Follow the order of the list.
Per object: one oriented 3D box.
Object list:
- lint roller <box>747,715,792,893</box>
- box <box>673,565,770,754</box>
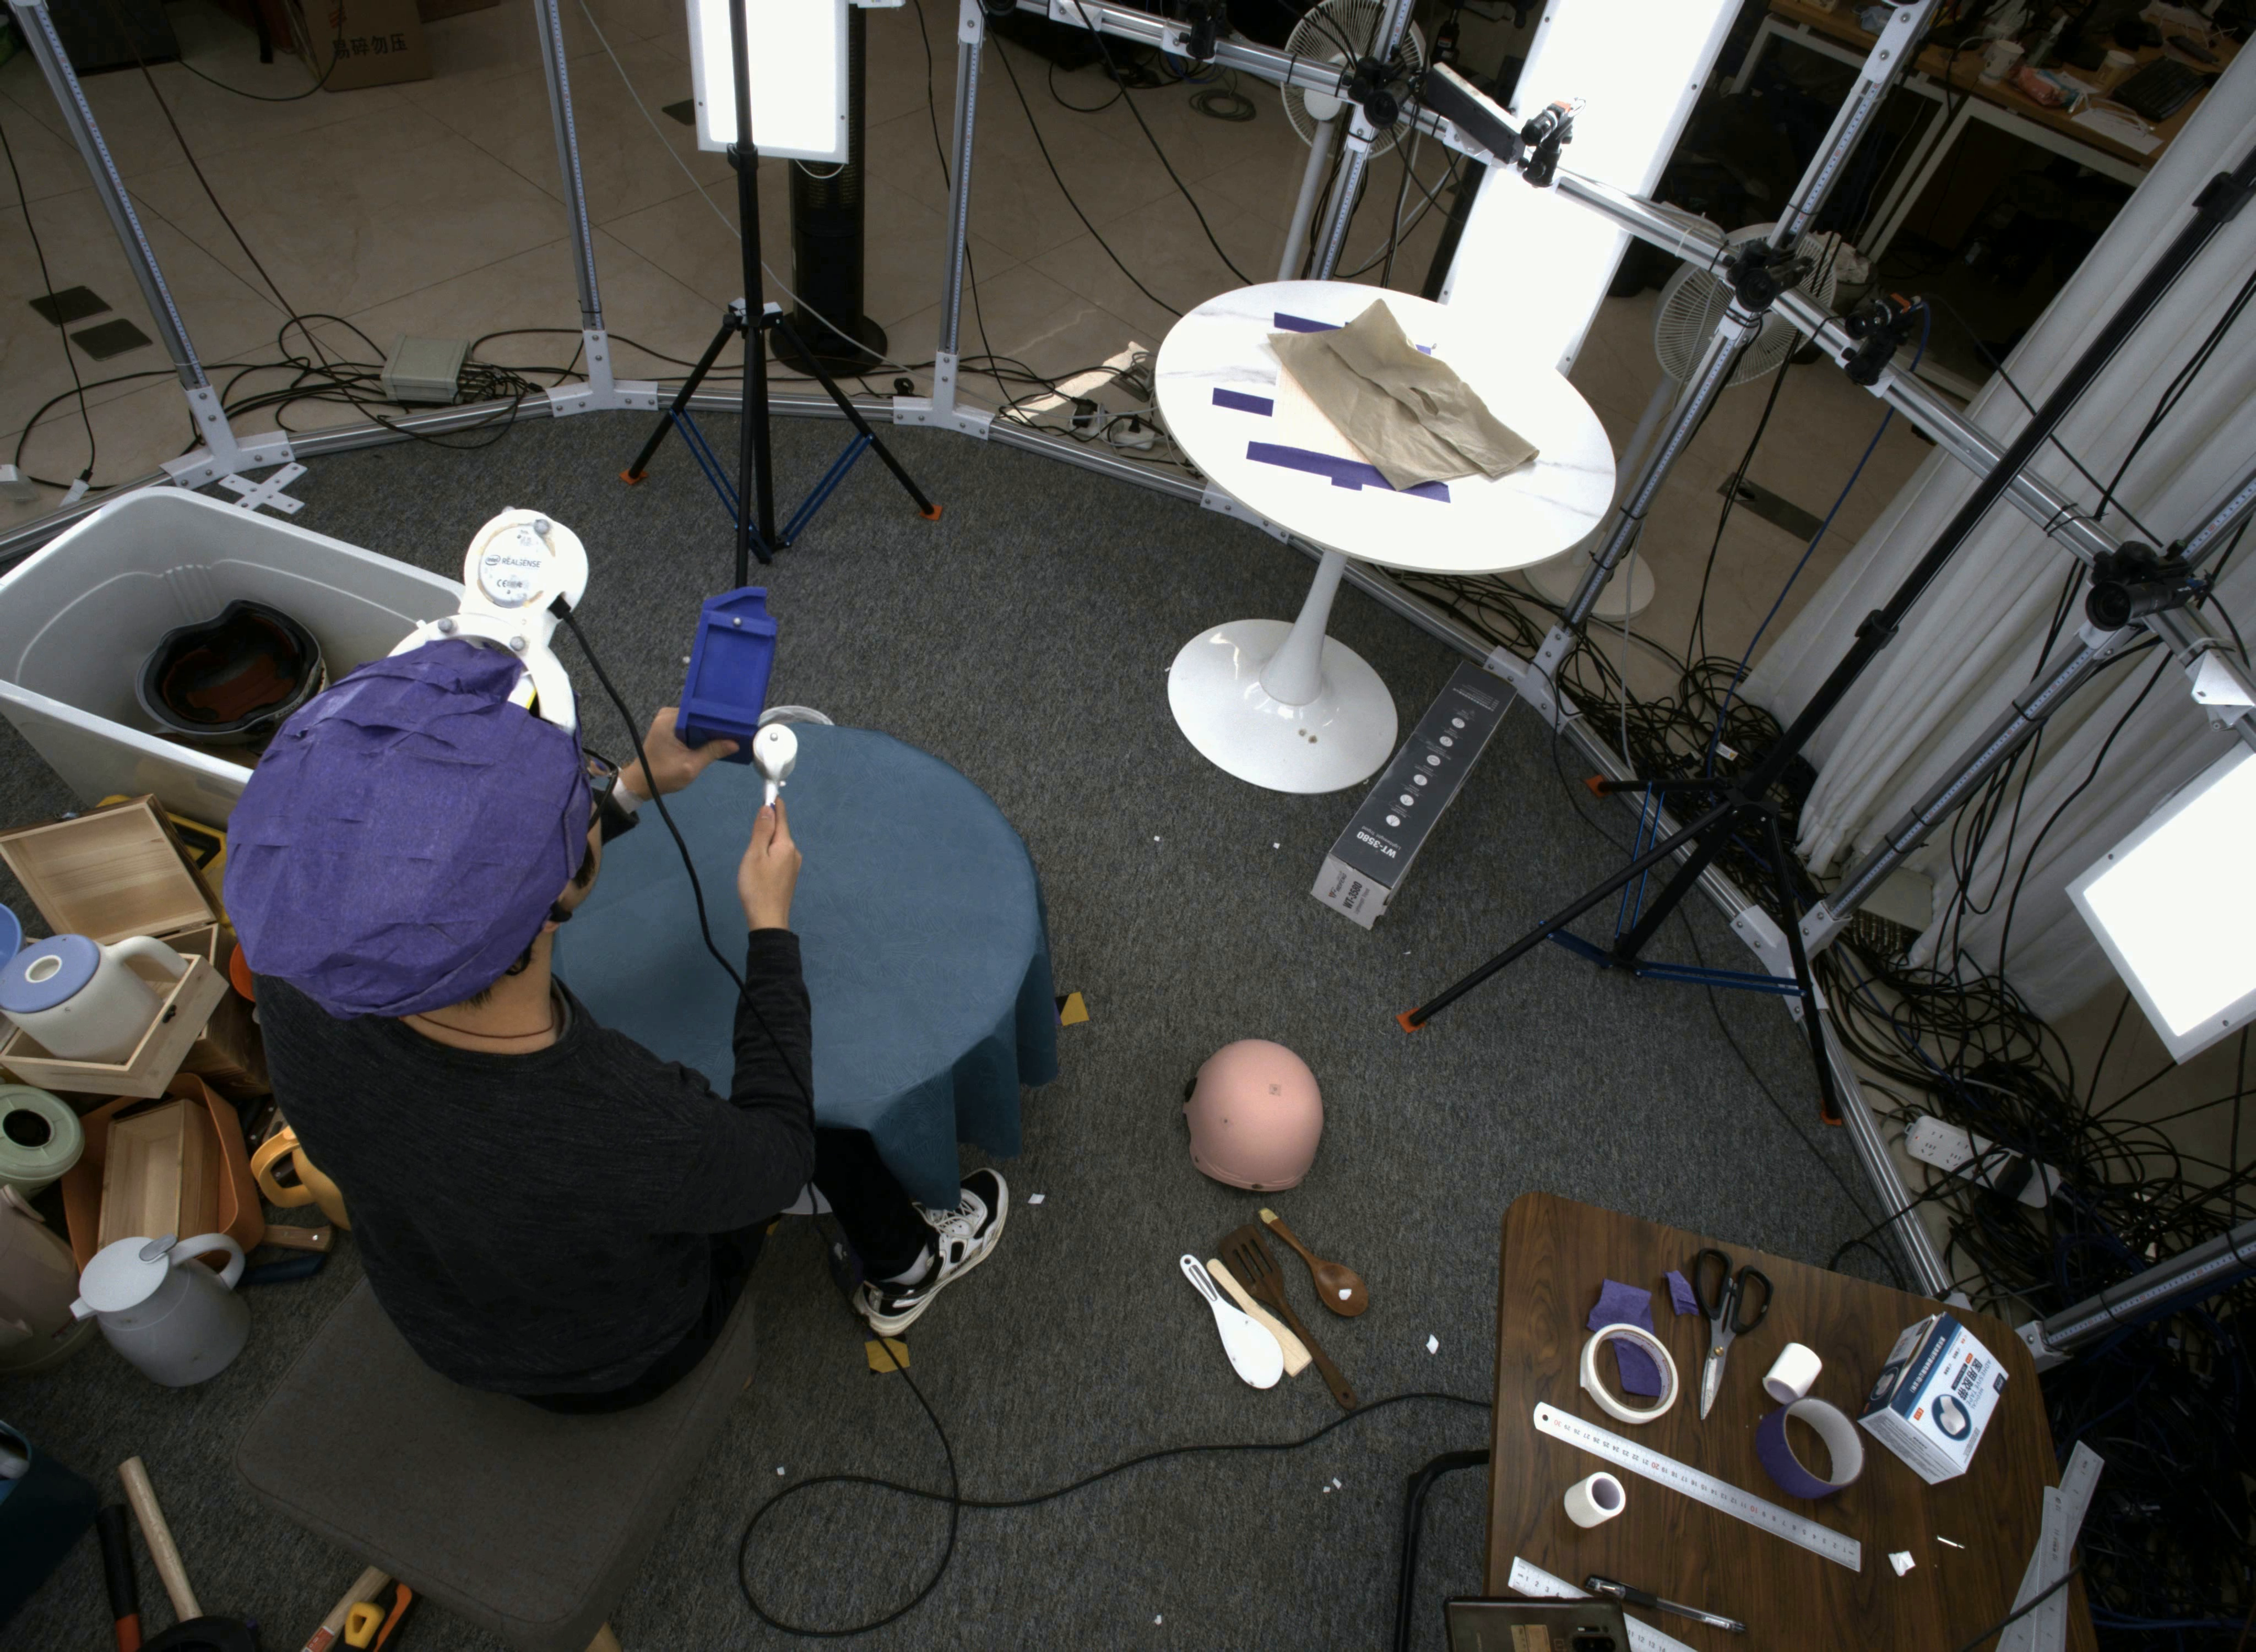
[{"bbox_3d":[-0.383,-0.021,1.393,0.050,0.132,0.182,-4,83,-17],"label":"lint roller"},{"bbox_3d":[-0.440,-0.178,1.403,0.082,0.124,0.179,7,73,-15],"label":"box"}]
